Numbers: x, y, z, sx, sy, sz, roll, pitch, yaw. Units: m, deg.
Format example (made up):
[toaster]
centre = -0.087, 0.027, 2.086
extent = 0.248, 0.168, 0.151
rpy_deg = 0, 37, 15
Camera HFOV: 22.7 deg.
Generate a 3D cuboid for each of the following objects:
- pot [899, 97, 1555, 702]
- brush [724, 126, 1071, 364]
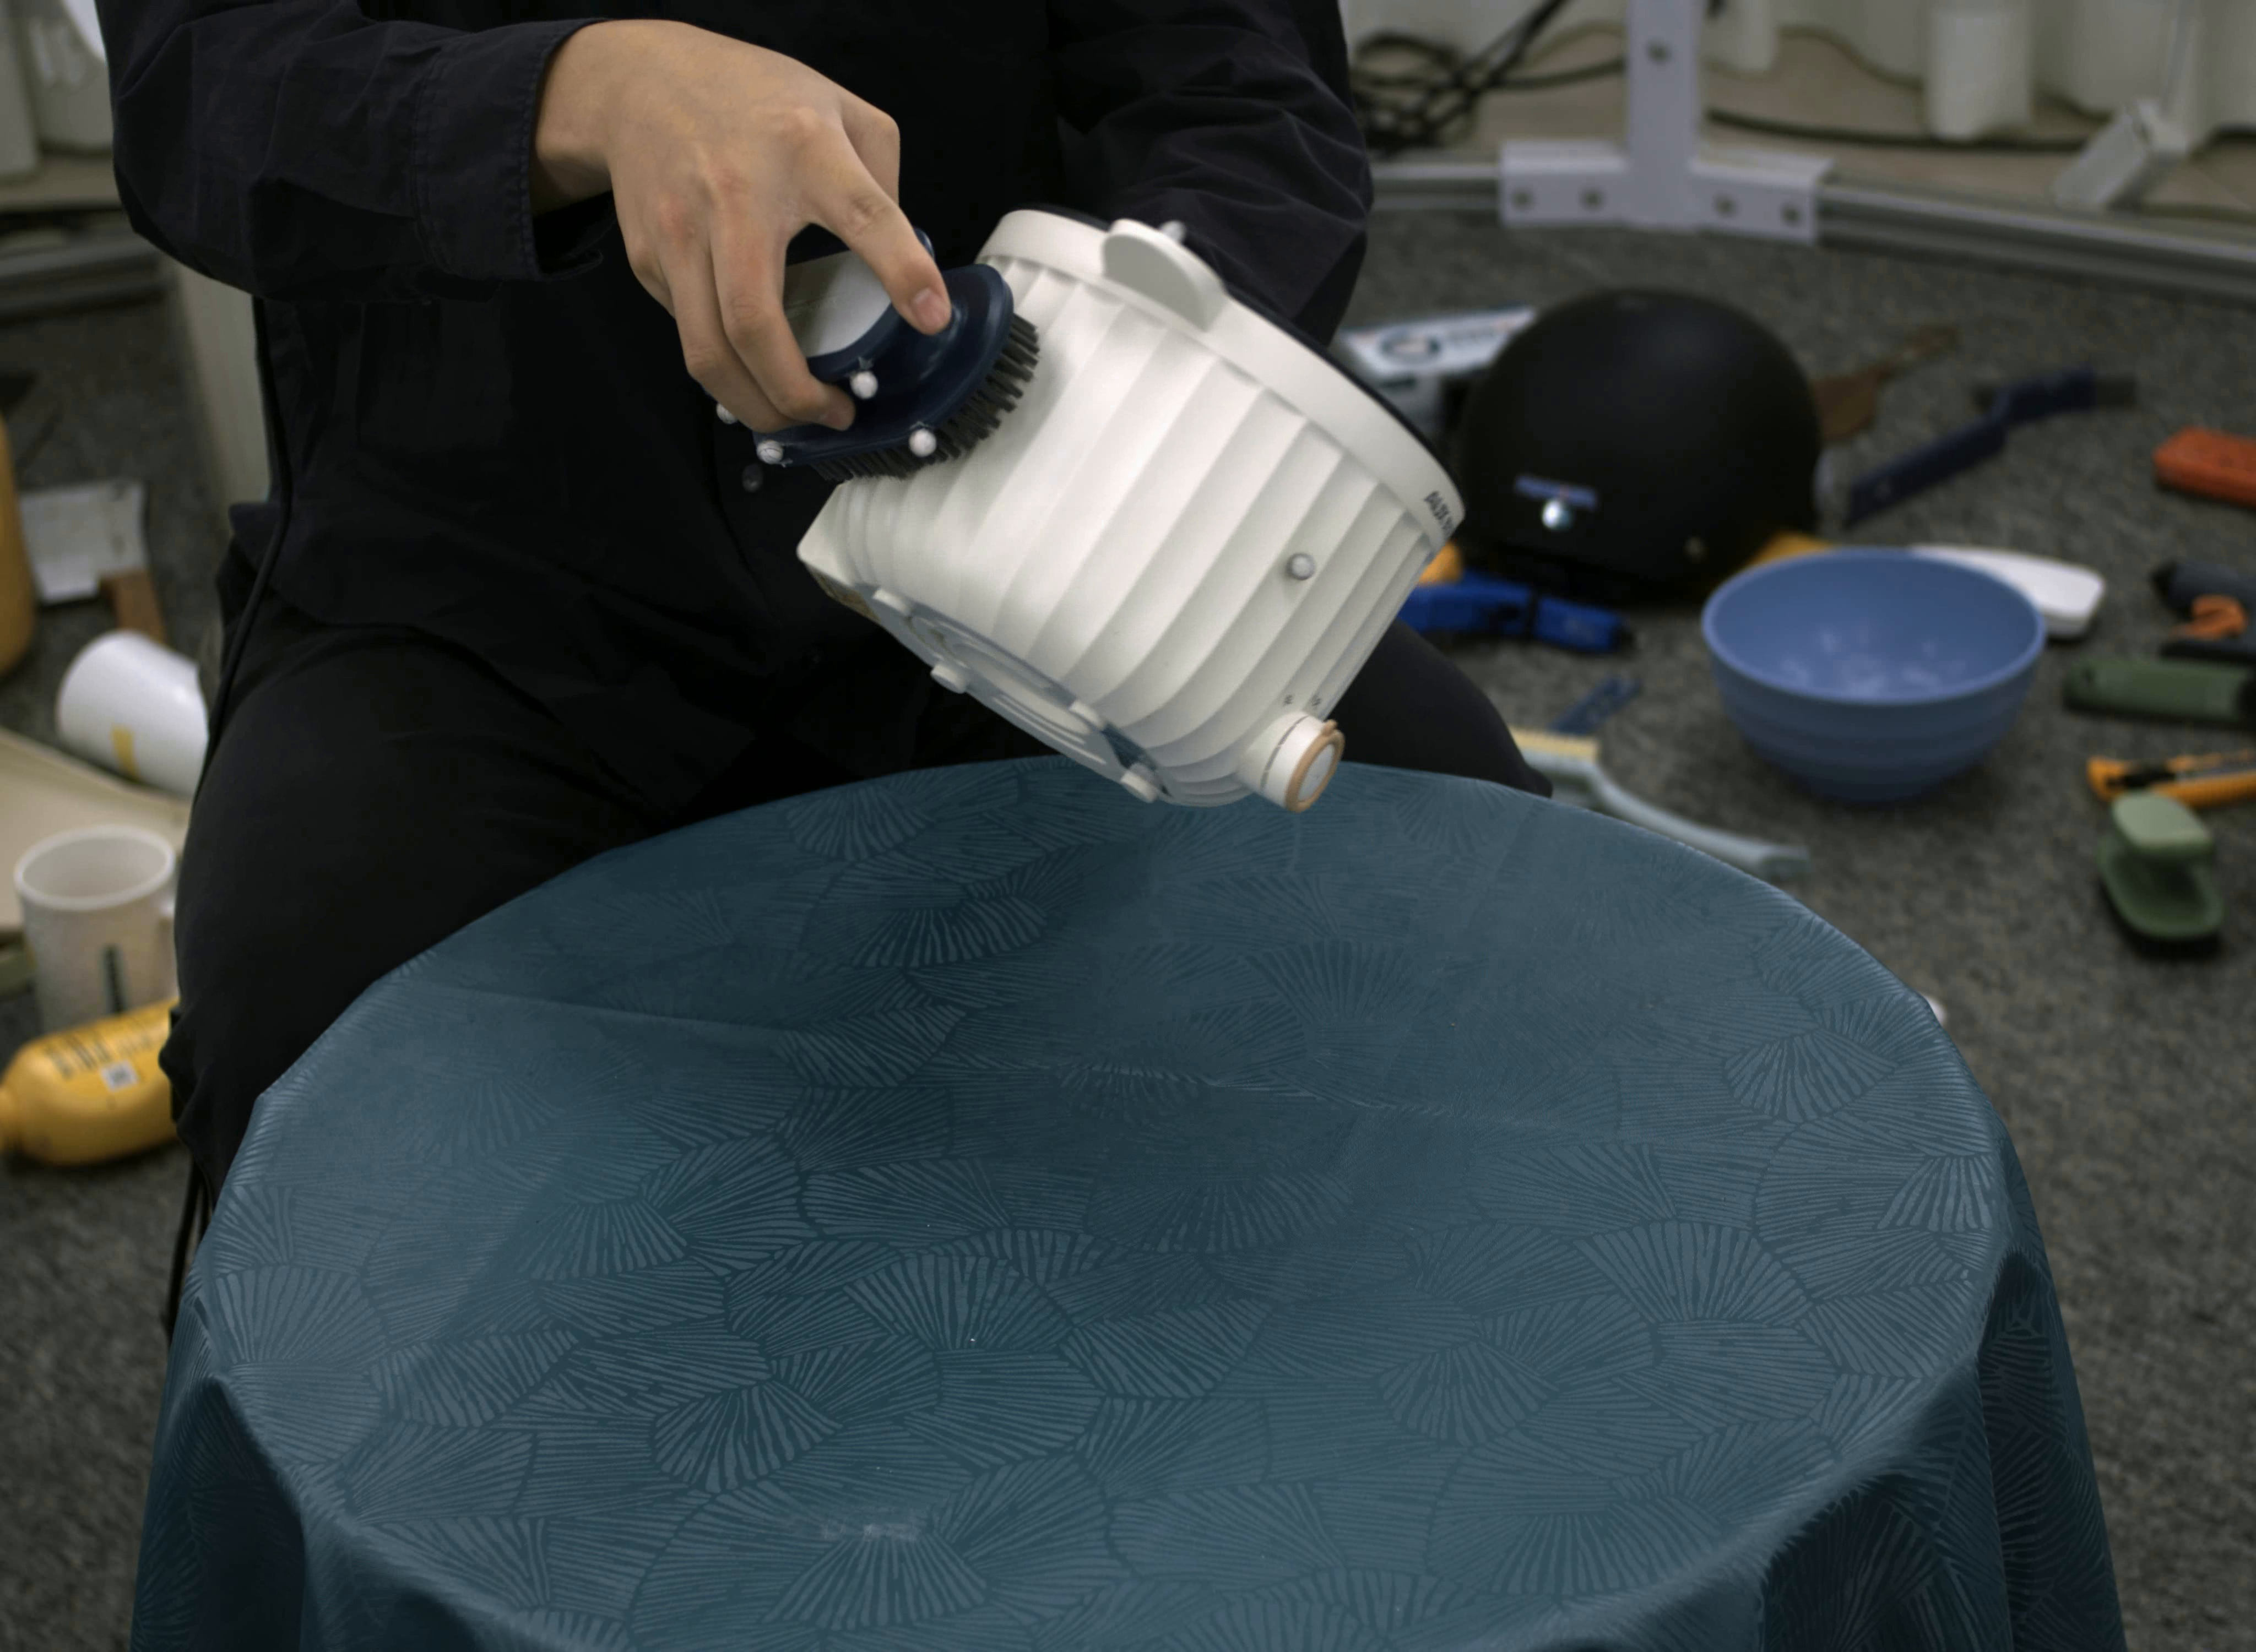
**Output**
[pot]
centre = 0.036, -0.131, 1.877
extent = 0.190, 0.144, 0.238
rpy_deg = 27, -9, 18
[brush]
centre = -0.072, -0.183, 1.800
extent = 0.120, 0.061, 0.069
rpy_deg = 5, 65, 46
